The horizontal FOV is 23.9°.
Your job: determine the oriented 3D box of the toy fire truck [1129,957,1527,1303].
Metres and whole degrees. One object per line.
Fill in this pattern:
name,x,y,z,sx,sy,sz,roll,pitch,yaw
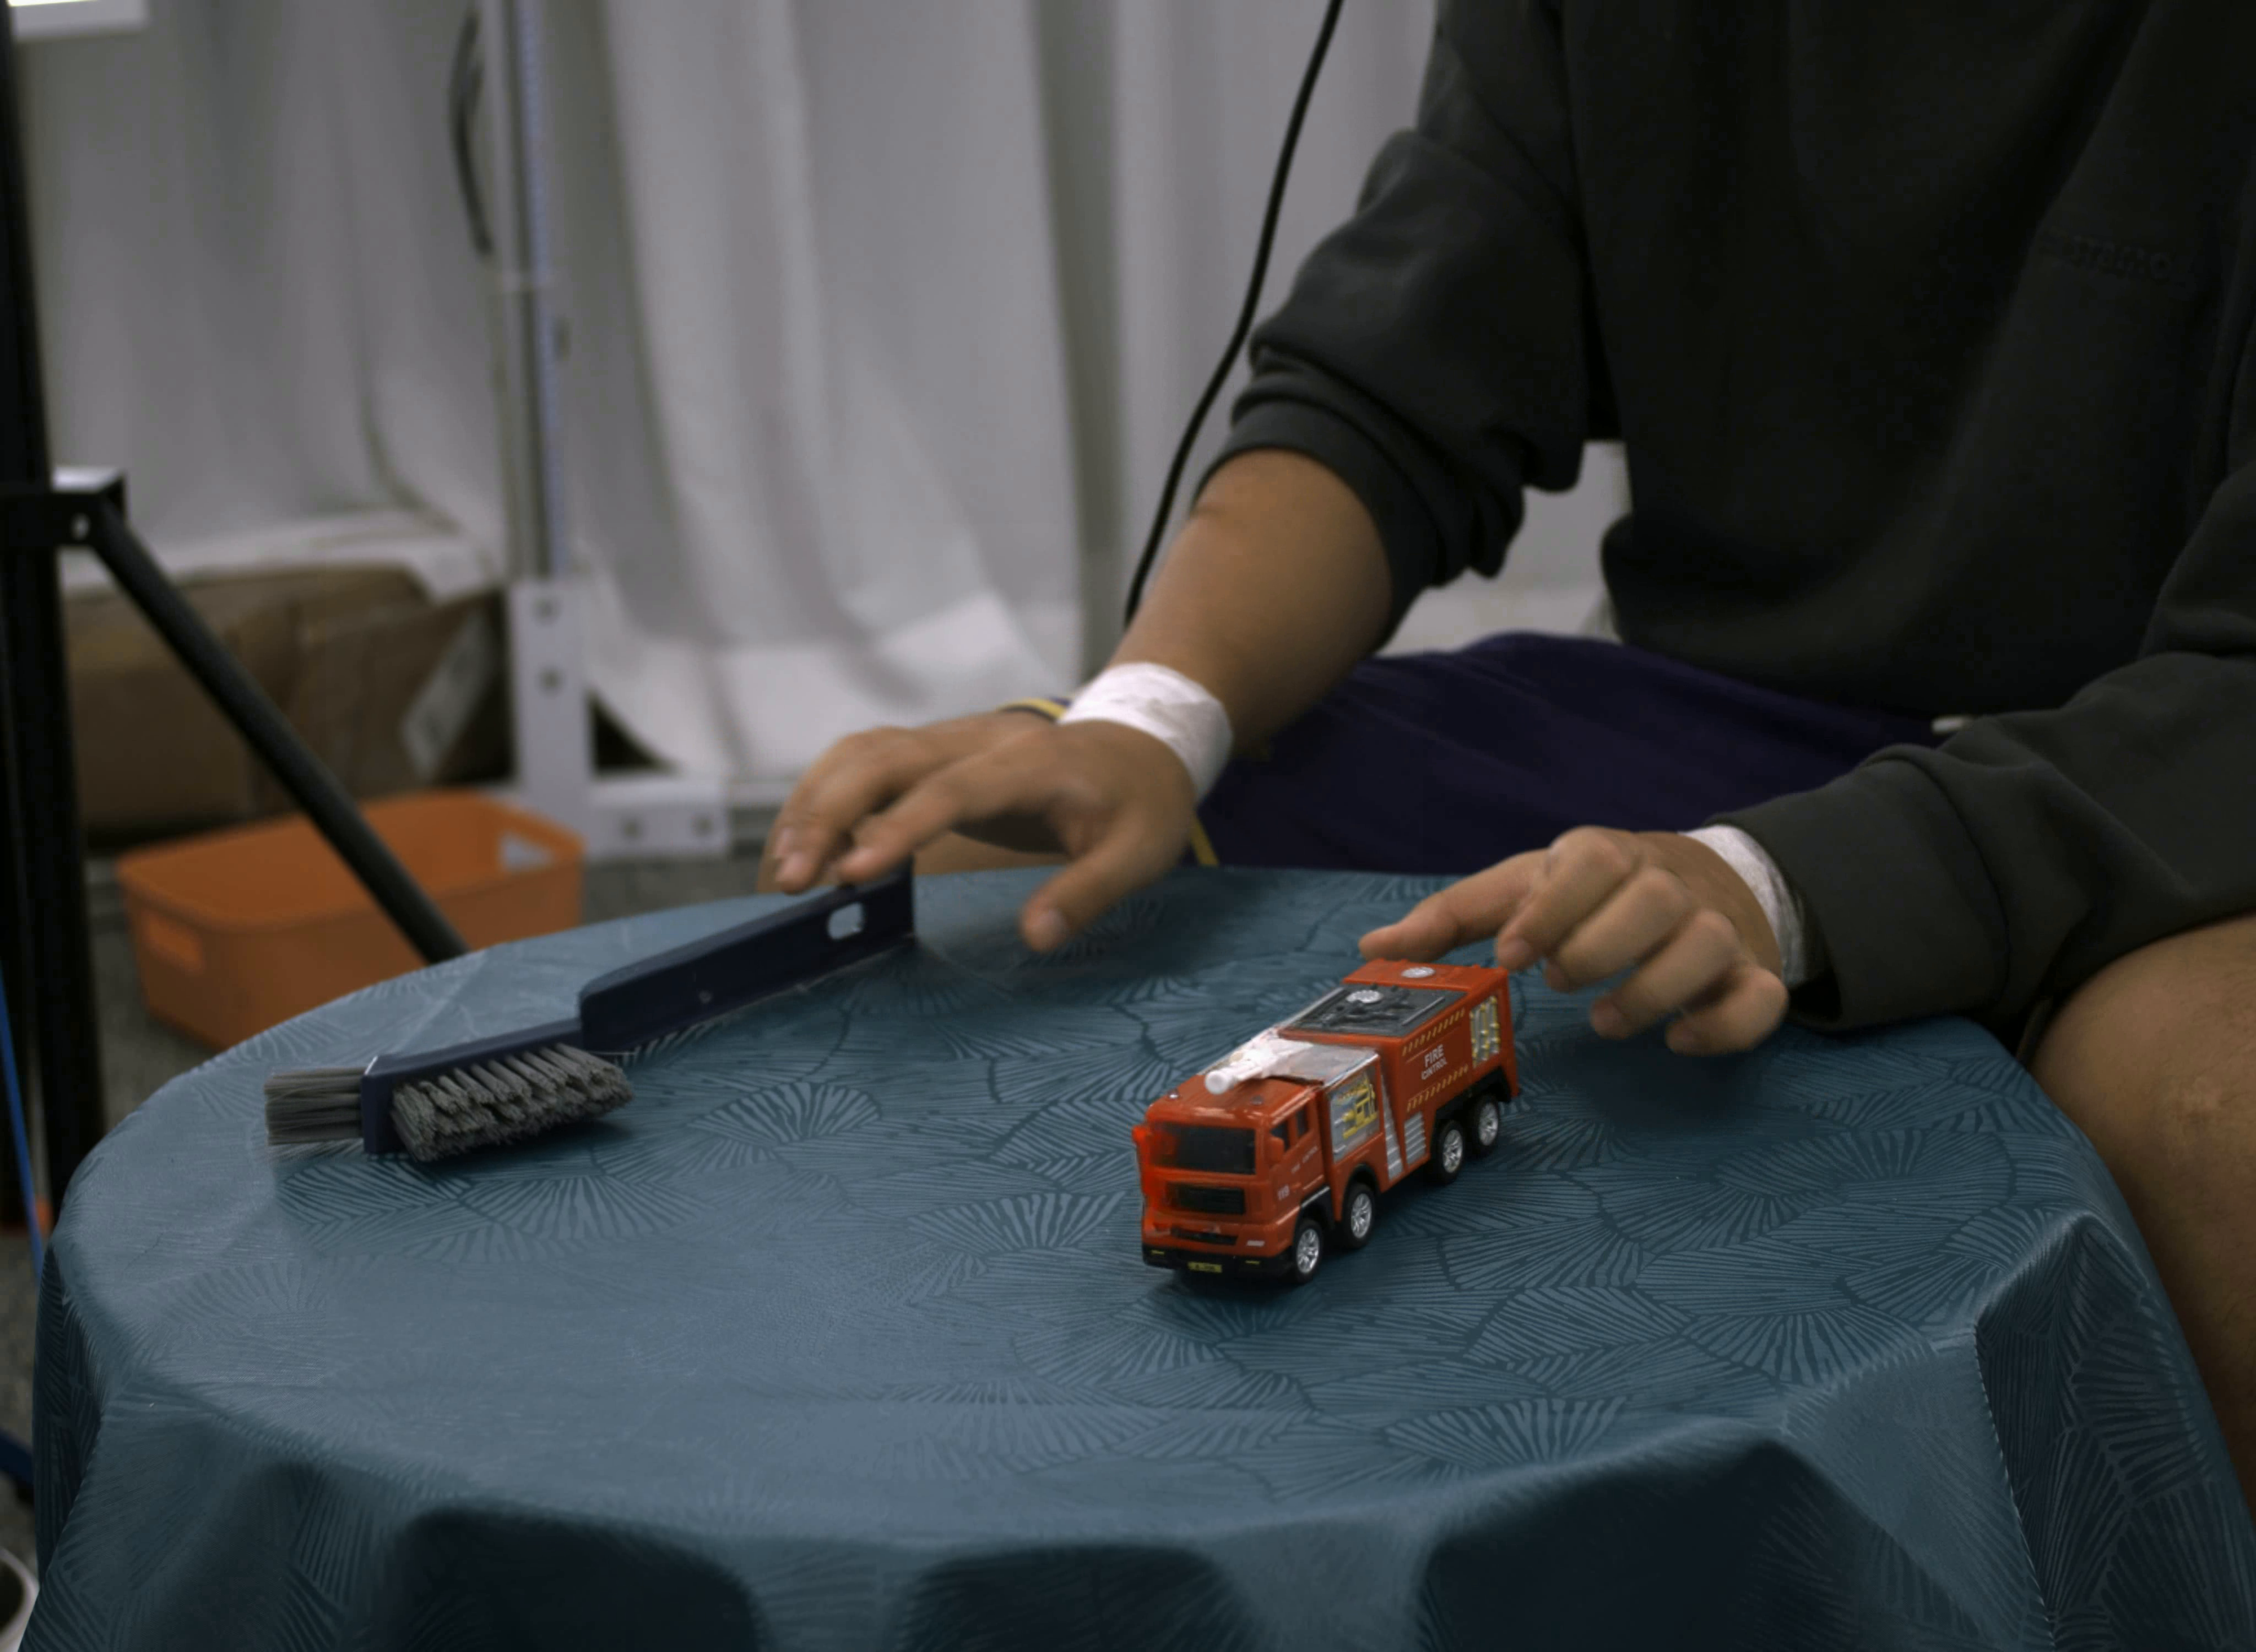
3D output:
toy fire truck,0.059,0.084,1.526,0.055,0.070,0.165,3,16,30

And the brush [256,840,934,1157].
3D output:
brush,-0.160,0.054,1.719,0.097,0.033,0.268,8,20,30
